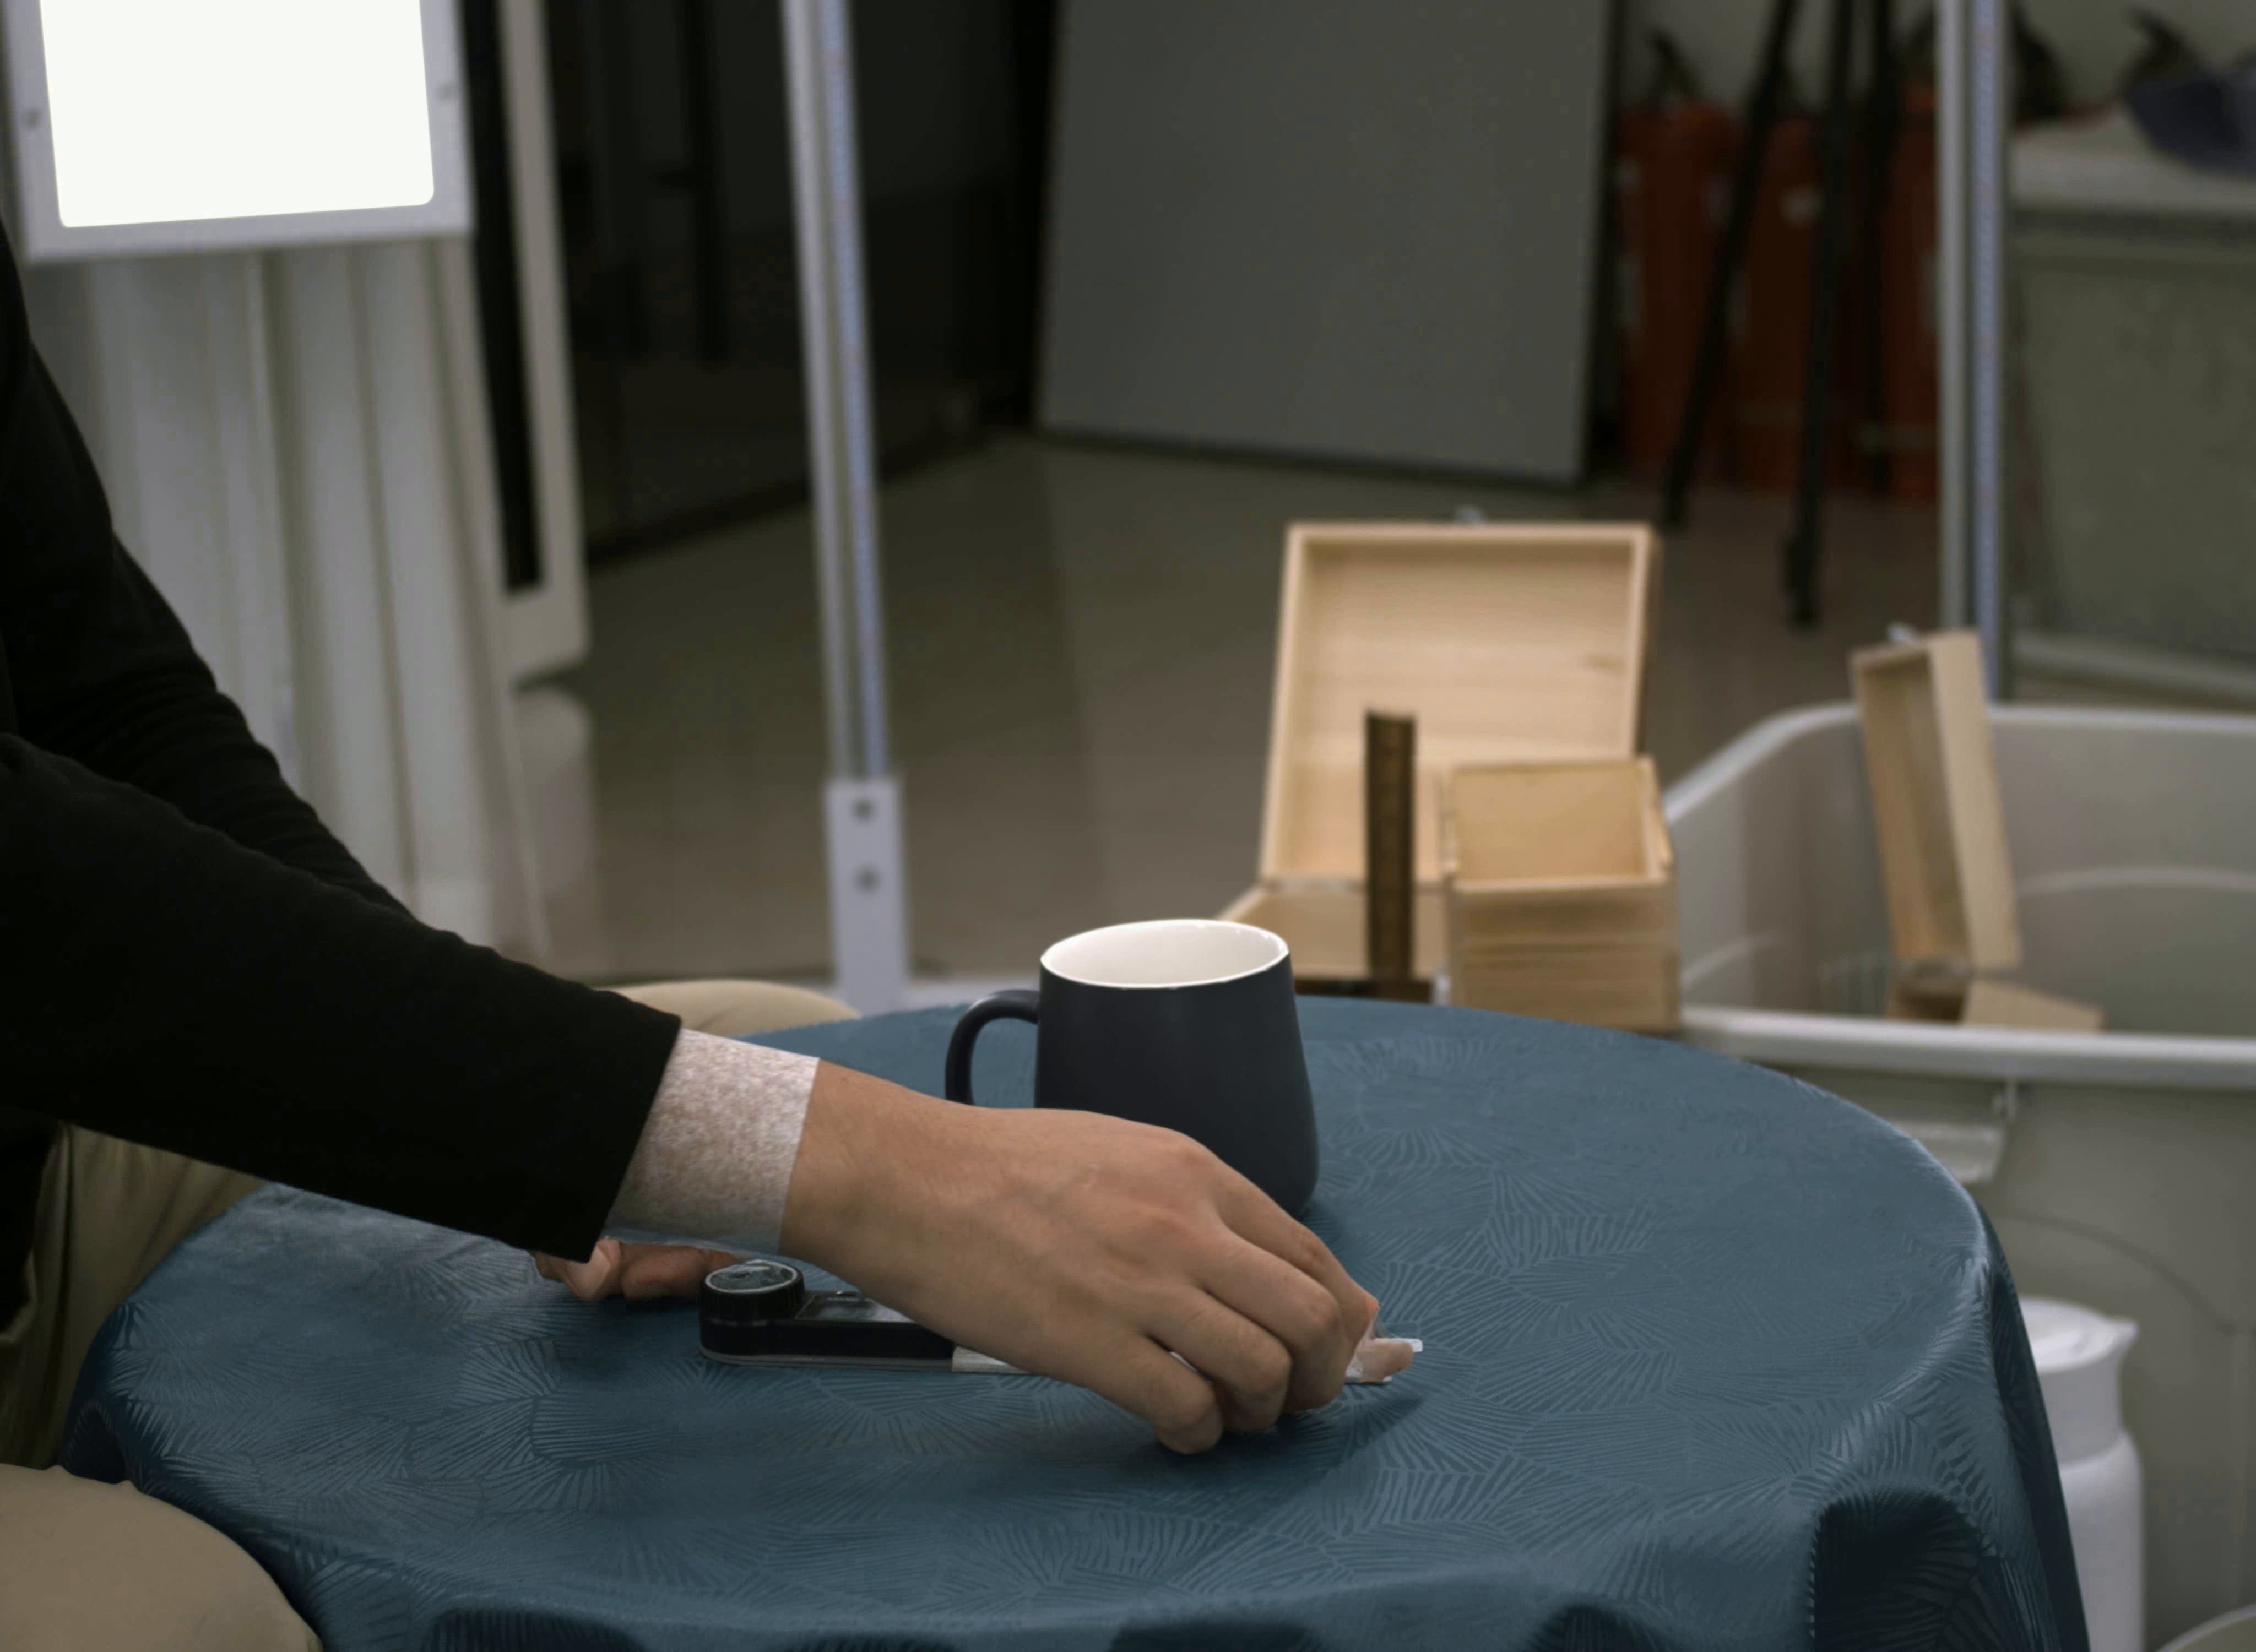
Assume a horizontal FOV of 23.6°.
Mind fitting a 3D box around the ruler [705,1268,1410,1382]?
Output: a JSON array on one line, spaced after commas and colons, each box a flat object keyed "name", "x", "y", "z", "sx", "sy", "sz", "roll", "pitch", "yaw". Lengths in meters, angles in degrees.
[{"name": "ruler", "x": -0.024, "y": 0.149, "z": 1.616, "sx": 0.217, "sy": 0.024, "sz": 0.038, "roll": -1, "pitch": 22, "yaw": 17}]

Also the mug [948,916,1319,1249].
[{"name": "mug", "x": 0.000, "y": 0.081, "z": 1.734, "sx": 0.123, "sy": 0.091, "sz": 0.092, "roll": 2, "pitch": 14, "yaw": 19}]
